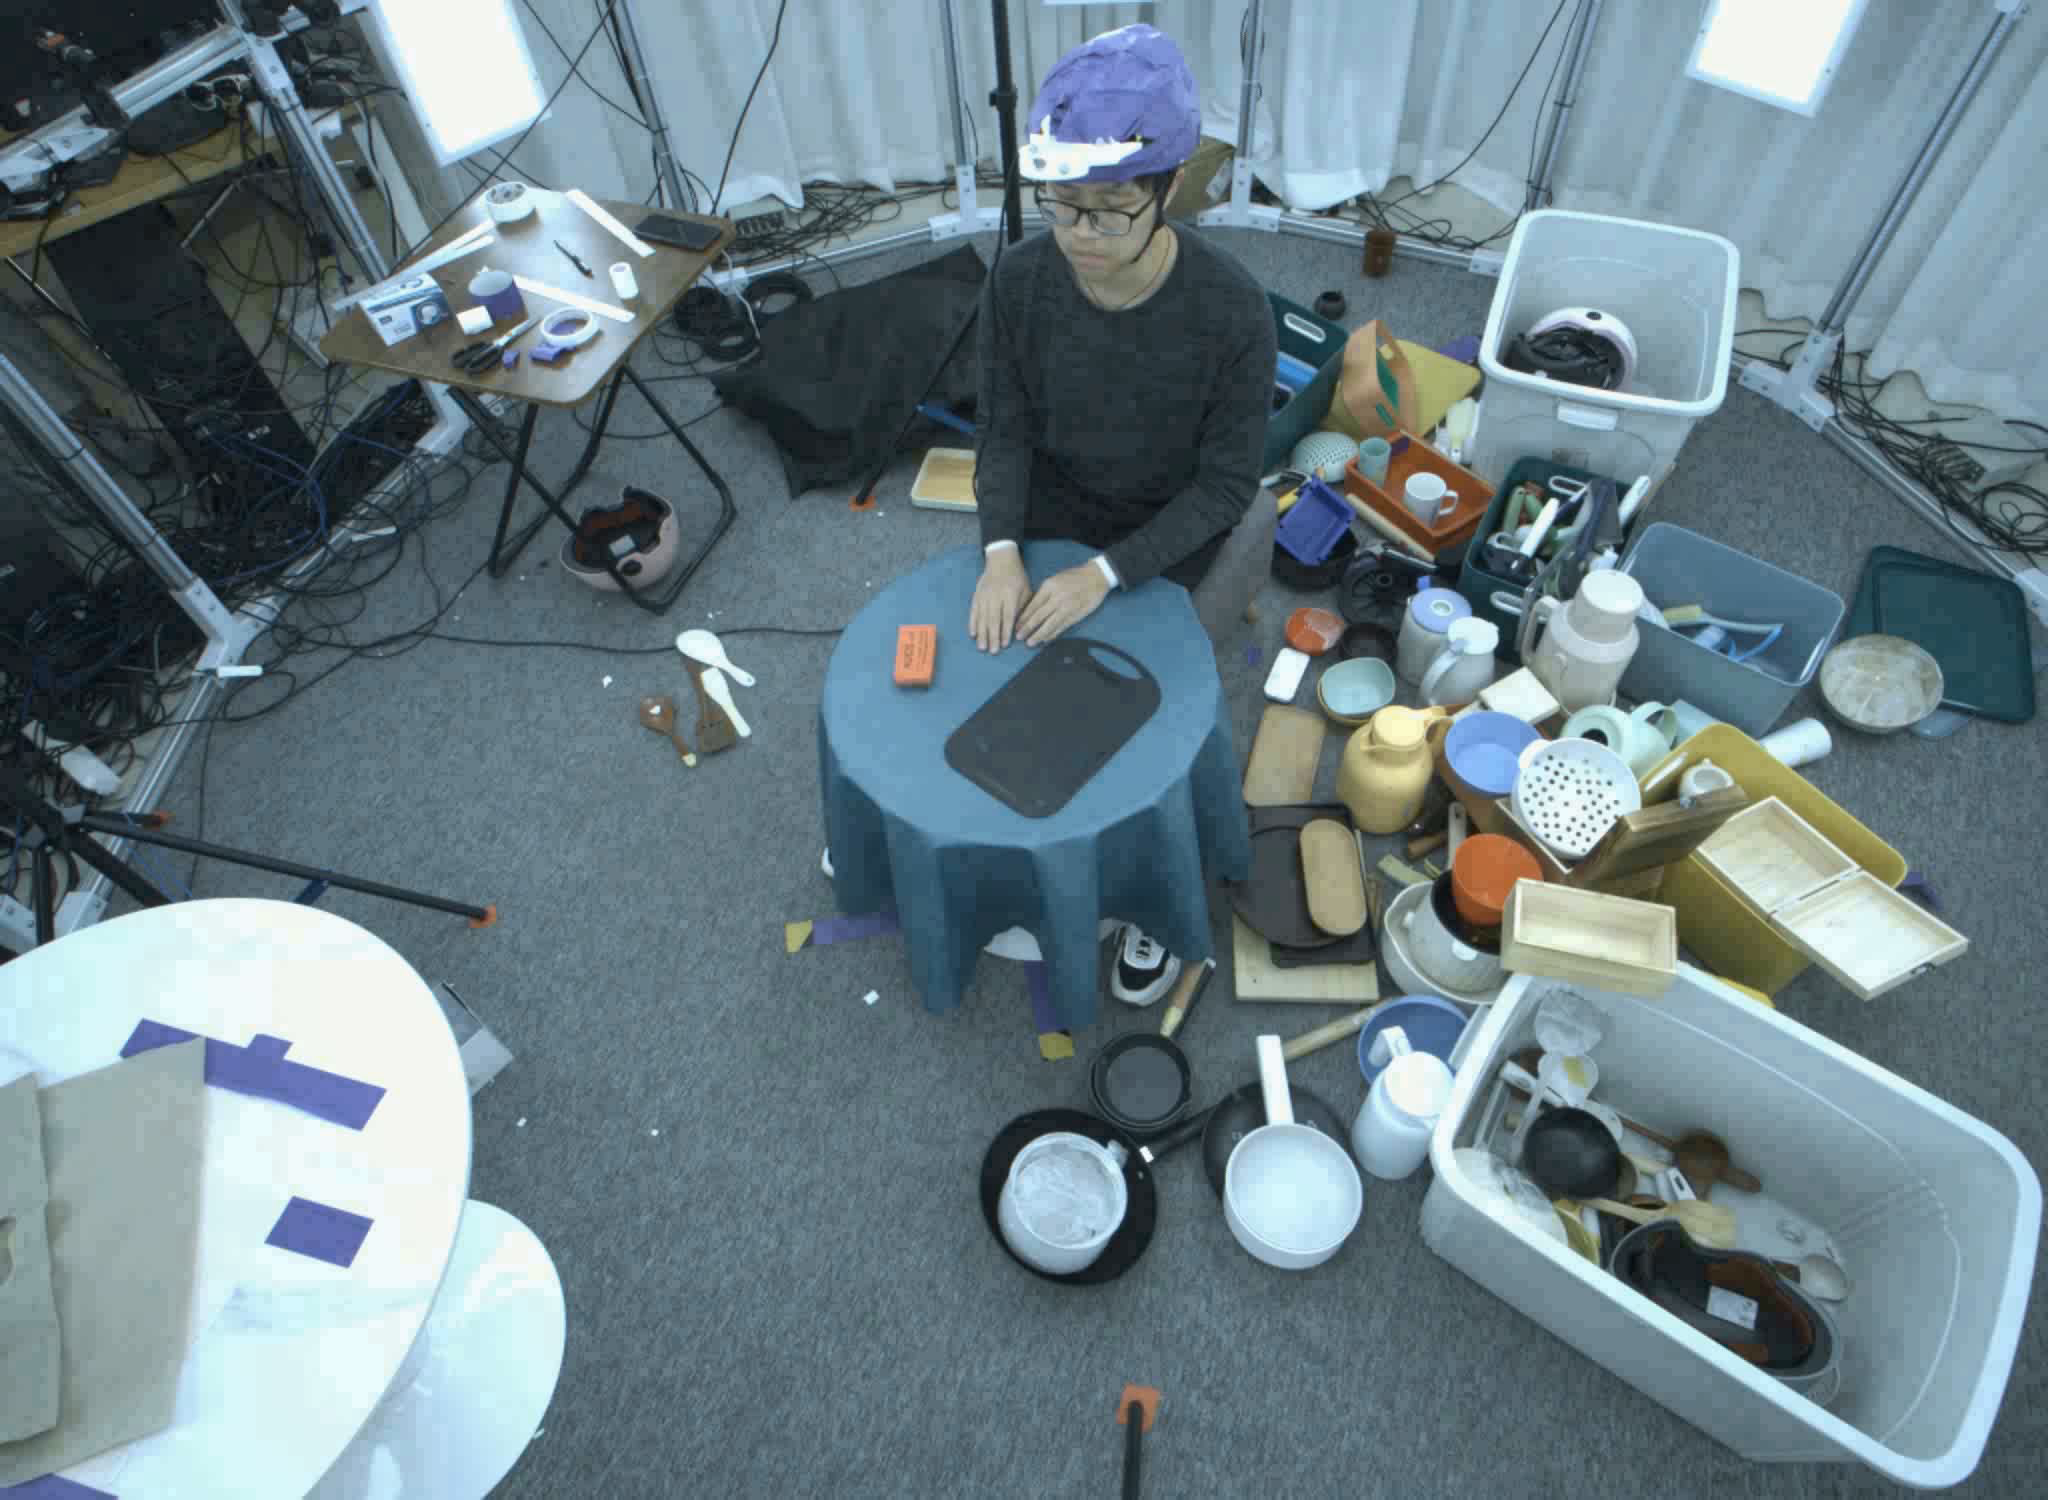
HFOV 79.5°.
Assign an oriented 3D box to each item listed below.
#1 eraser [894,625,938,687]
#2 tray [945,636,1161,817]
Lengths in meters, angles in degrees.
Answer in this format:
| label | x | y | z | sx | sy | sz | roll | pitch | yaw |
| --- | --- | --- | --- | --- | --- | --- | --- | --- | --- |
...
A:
| label | x | y | z | sx | sy | sz | roll | pitch | yaw |
| --- | --- | --- | --- | --- | --- | --- | --- | --- | --- |
| eraser | -0.166 | -0.145 | 1.881 | 0.059 | 0.023 | 0.107 | 3 | 55 | 2 |
| tray | 0.049 | -0.048 | 1.816 | 0.207 | 0.010 | 0.327 | 35 | 63 | 23 |
